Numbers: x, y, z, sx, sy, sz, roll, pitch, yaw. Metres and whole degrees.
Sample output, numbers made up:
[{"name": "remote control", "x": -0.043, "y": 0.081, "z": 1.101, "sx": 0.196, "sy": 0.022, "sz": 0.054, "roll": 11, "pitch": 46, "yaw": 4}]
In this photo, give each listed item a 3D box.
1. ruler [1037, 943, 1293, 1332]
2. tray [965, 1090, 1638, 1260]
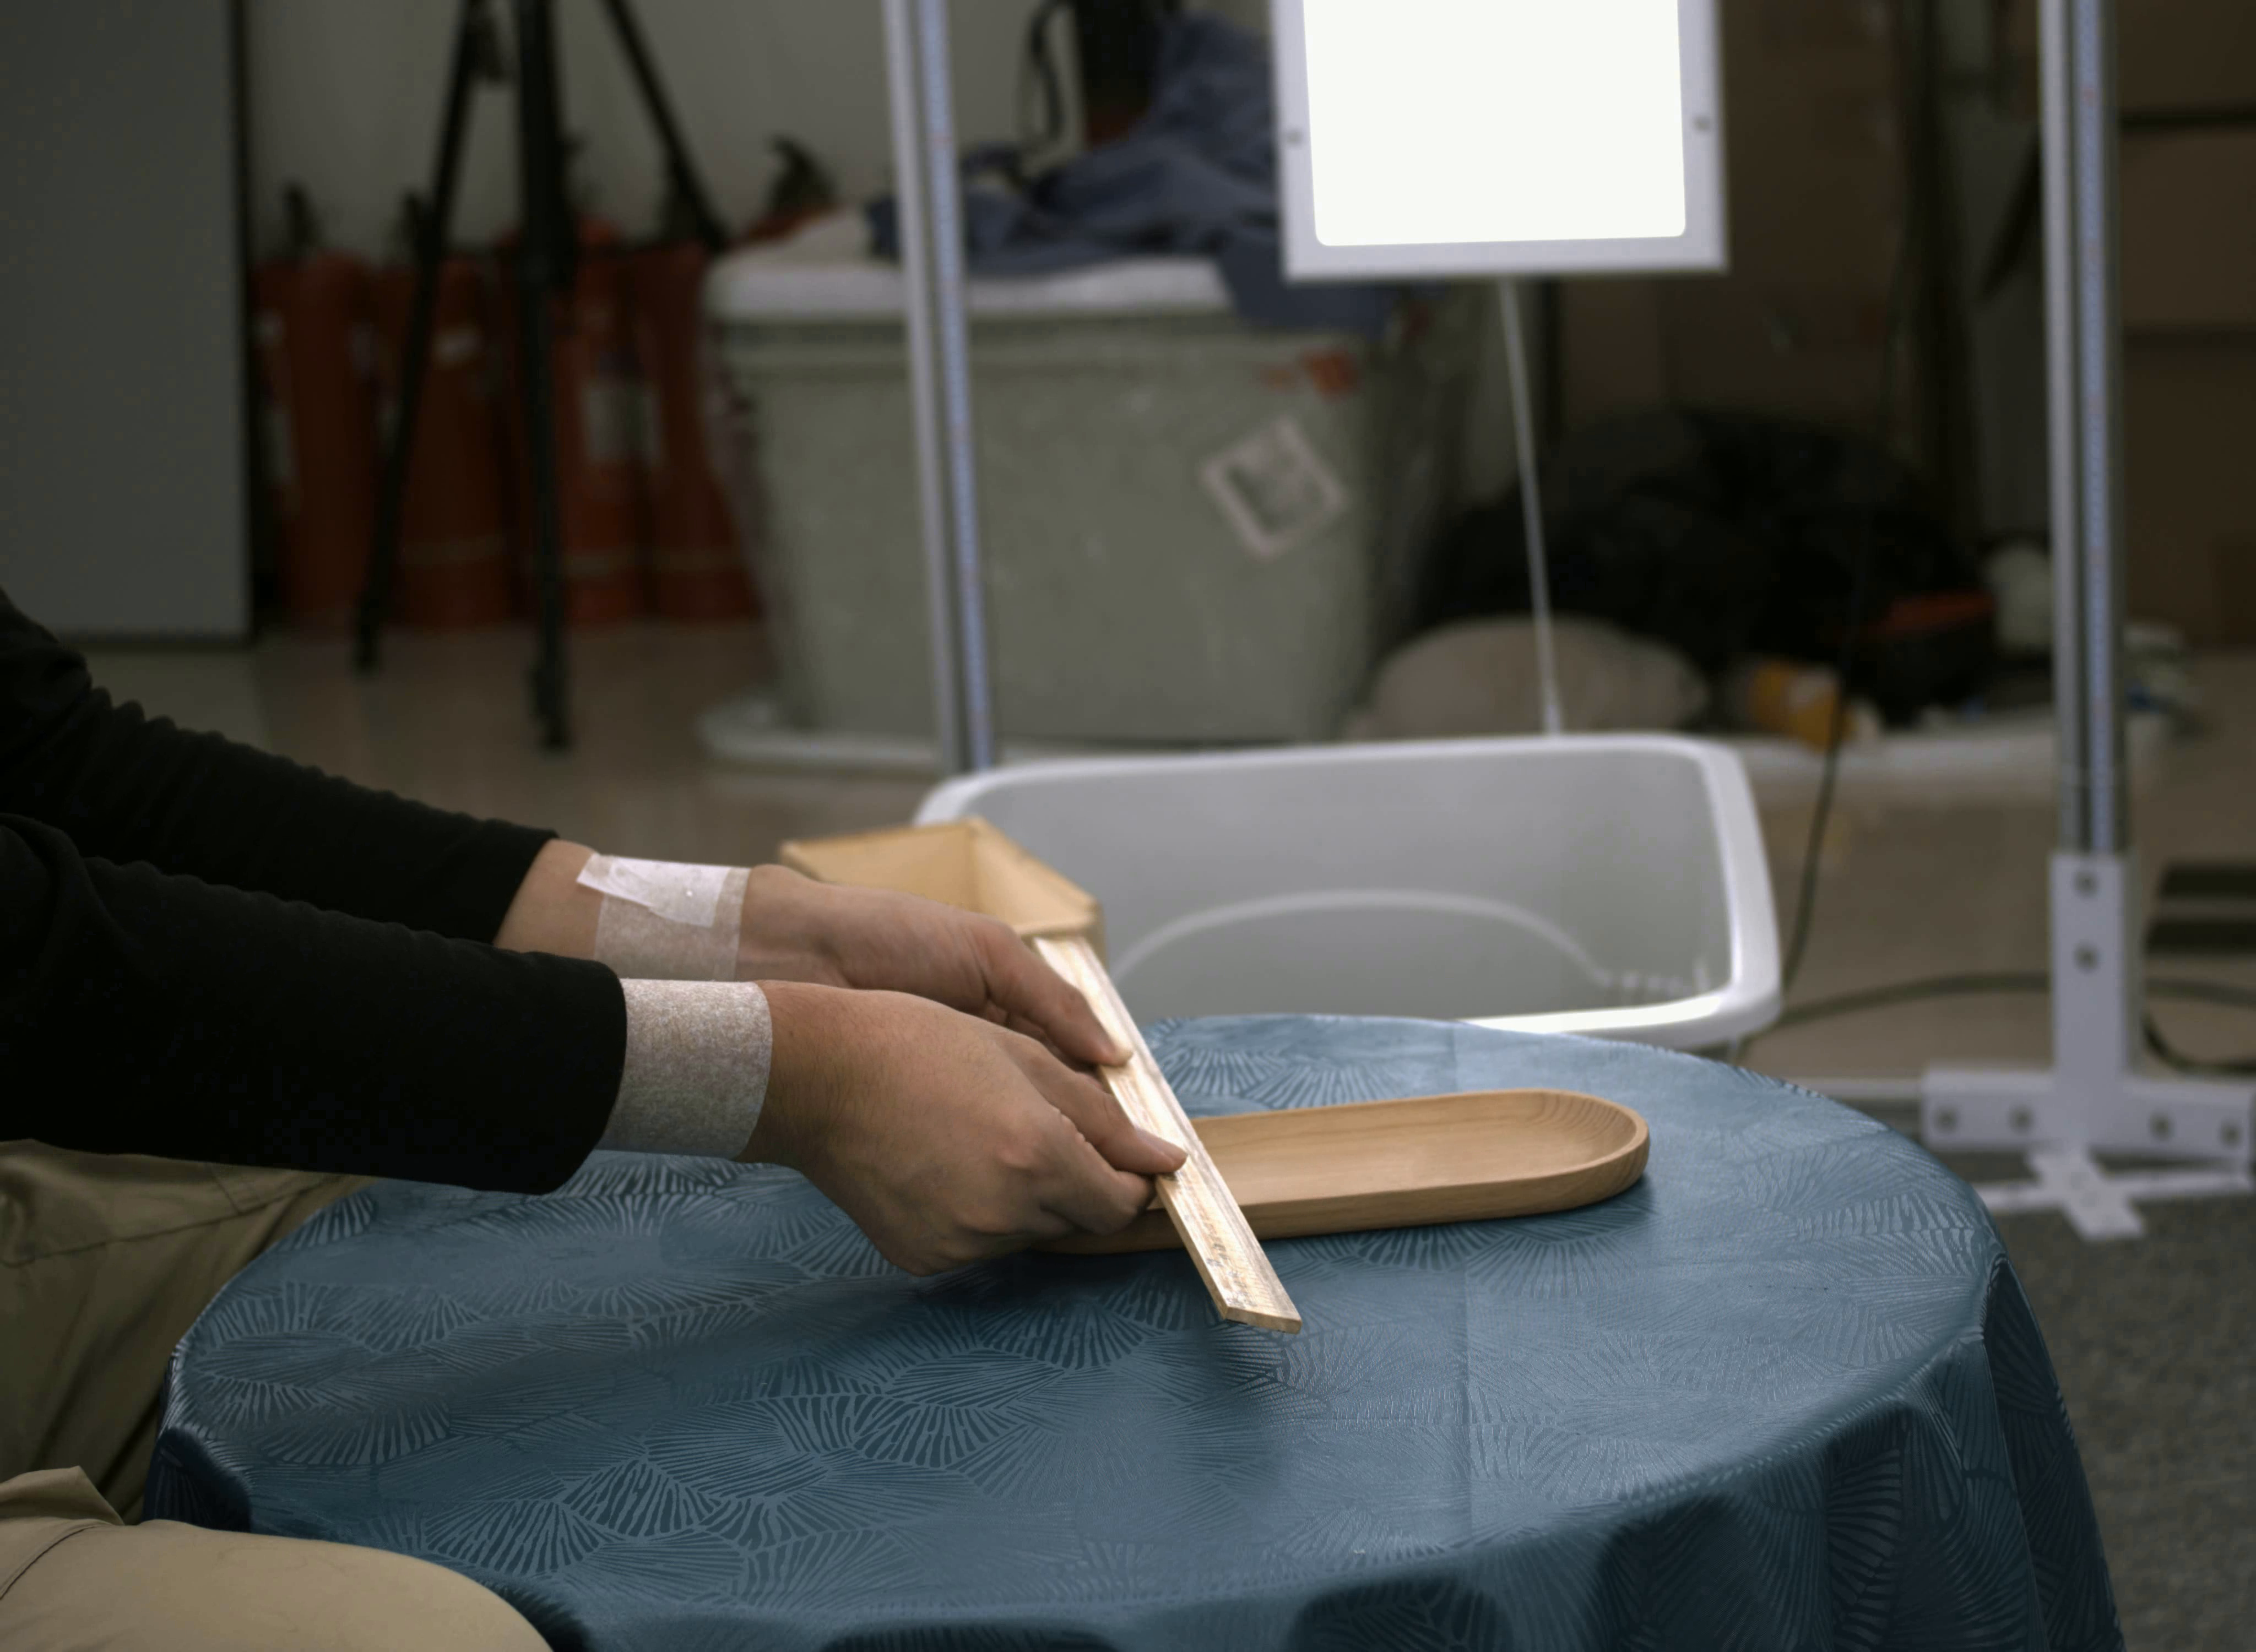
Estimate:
[{"name": "ruler", "x": 0.007, "y": 0.099, "z": 1.913, "sx": 0.026, "sy": 0.006, "sz": 0.502, "roll": 10, "pitch": 10, "yaw": -9}, {"name": "tray", "x": 0.060, "y": 0.119, "z": 1.873, "sx": 0.230, "sy": 0.020, "sz": 0.102, "roll": -7, "pitch": 13, "yaw": -2}]
